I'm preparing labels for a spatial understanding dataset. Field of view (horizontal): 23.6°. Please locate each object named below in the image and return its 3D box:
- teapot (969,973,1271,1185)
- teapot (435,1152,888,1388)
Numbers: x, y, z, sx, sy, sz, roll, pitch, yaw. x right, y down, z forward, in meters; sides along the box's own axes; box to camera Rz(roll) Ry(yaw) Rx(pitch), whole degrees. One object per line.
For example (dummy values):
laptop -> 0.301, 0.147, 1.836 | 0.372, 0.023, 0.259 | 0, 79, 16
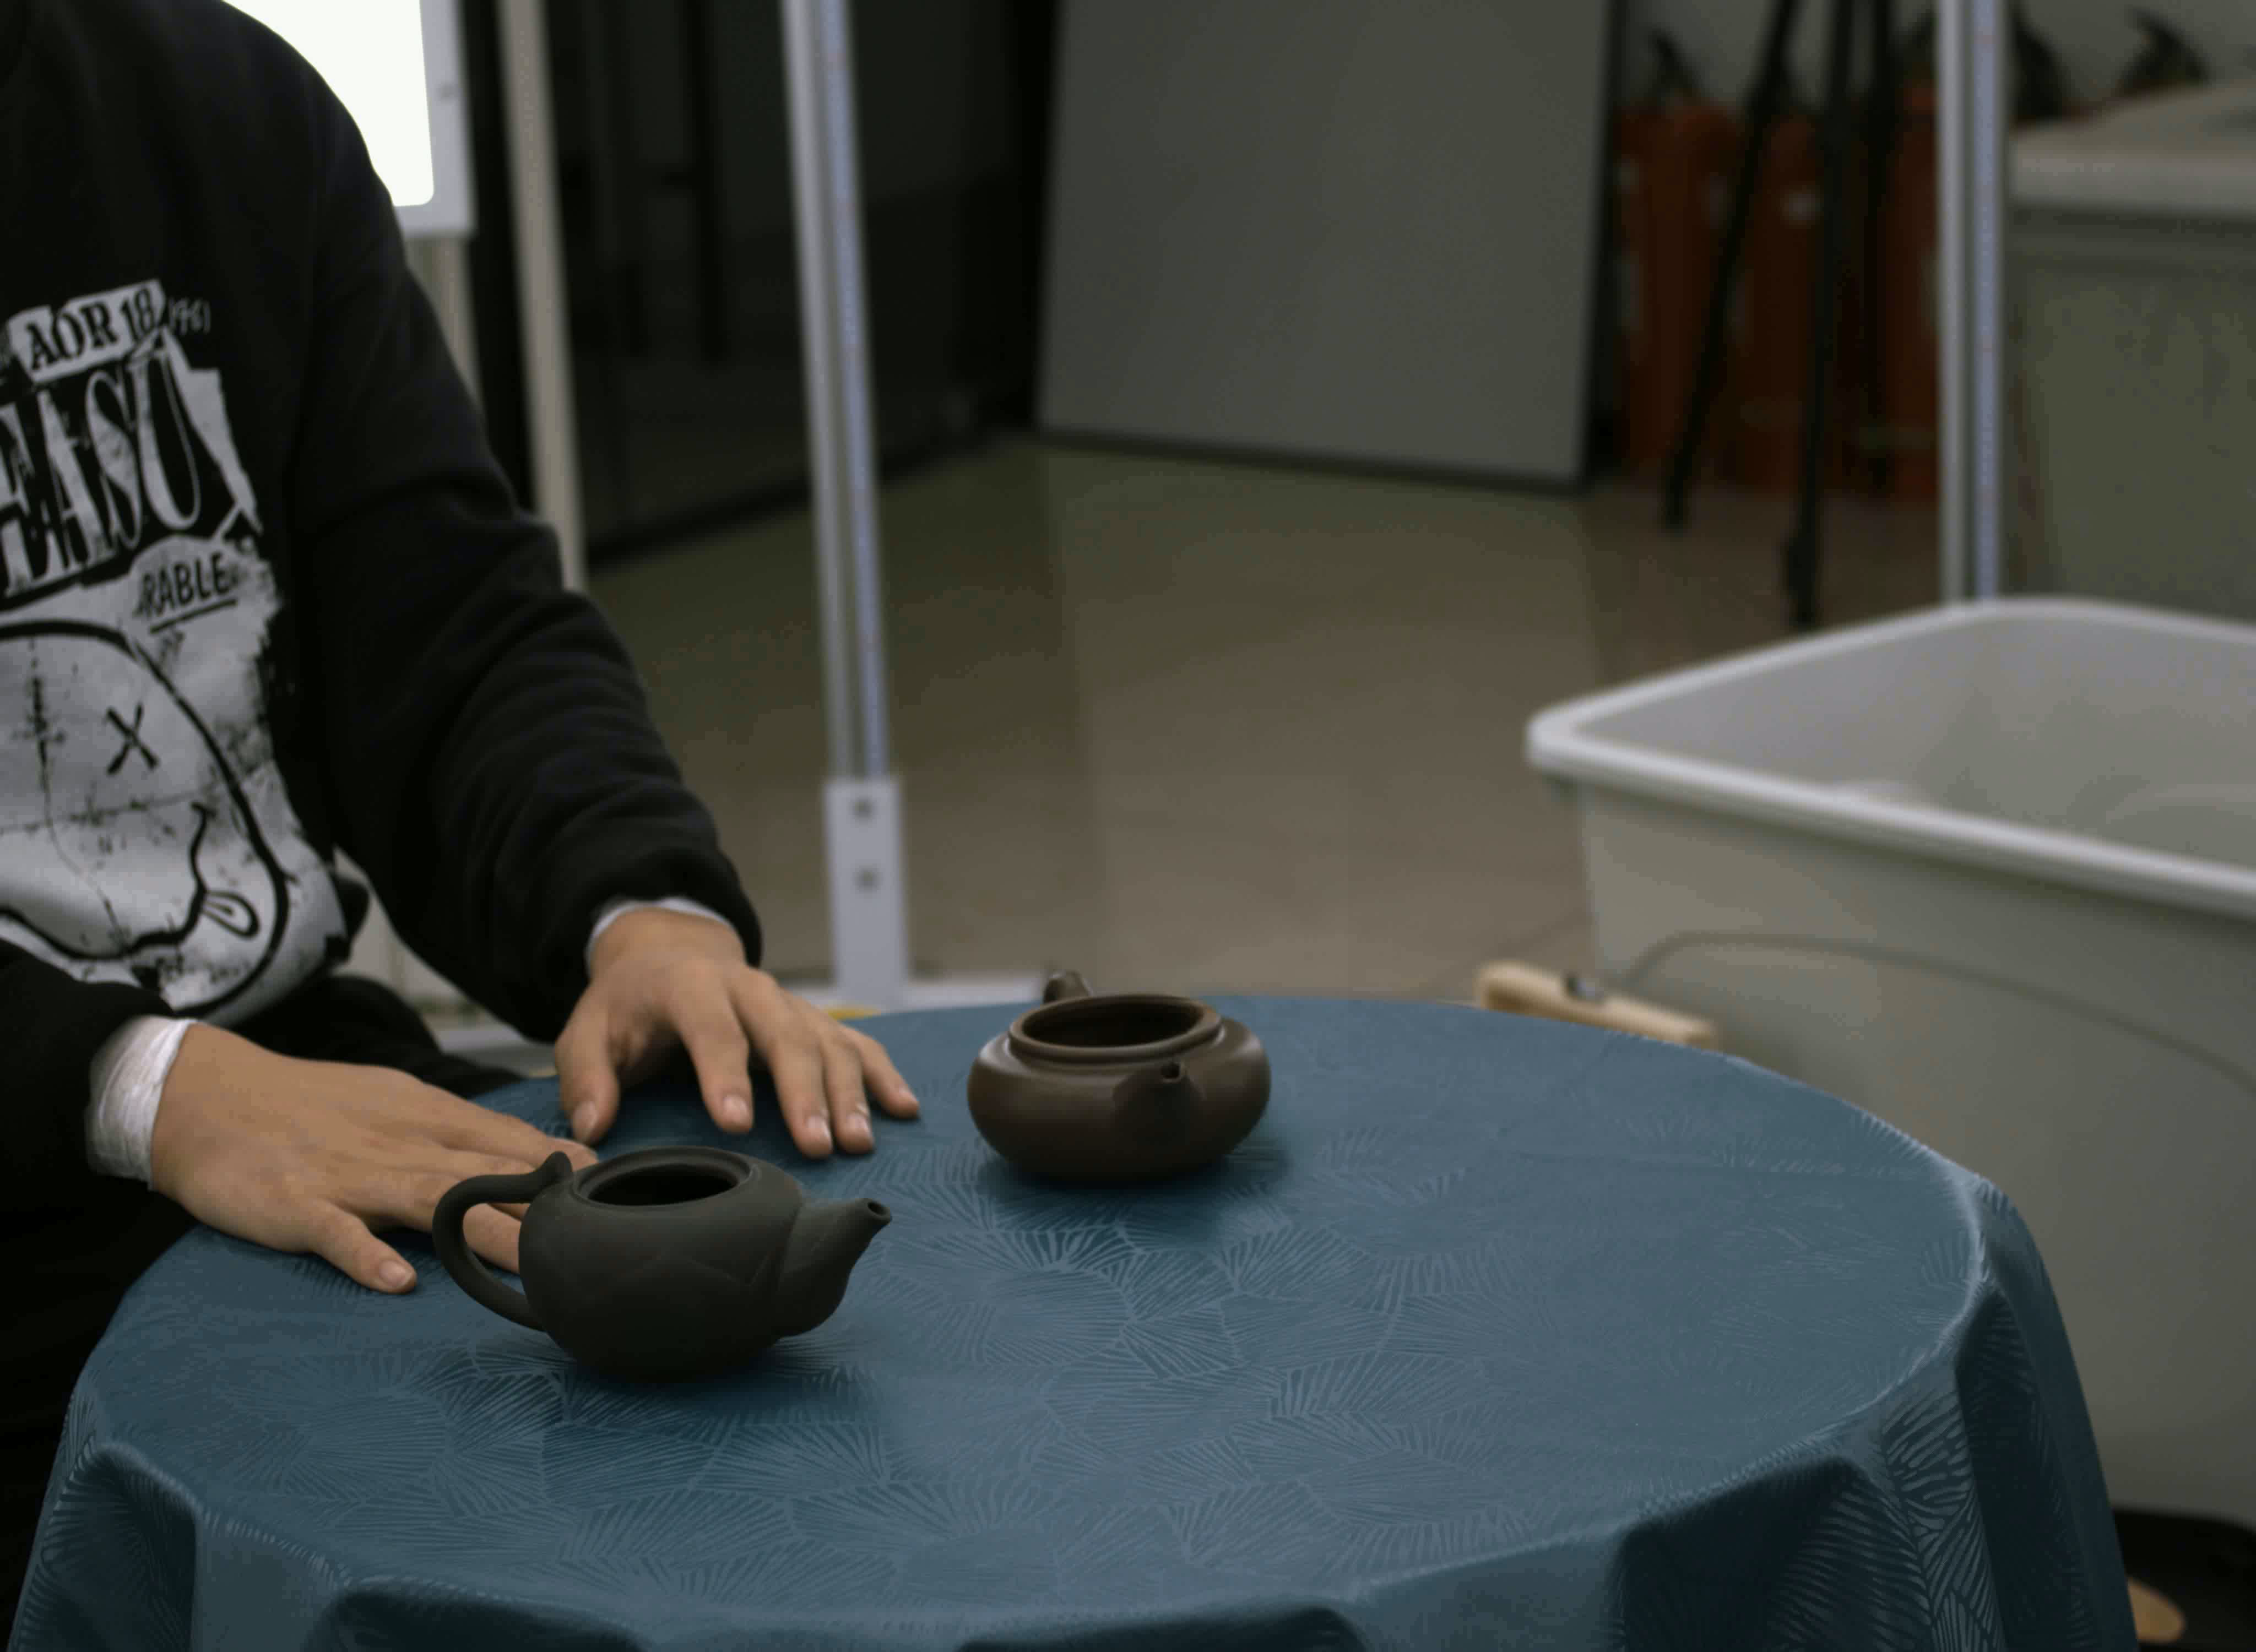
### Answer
teapot -> -0.004, 0.085, 1.808 | 0.100, 0.054, 0.155 | -7, 14, -19
teapot -> -0.142, 0.132, 1.641 | 0.154, 0.065, 0.091 | 2, 13, 22
